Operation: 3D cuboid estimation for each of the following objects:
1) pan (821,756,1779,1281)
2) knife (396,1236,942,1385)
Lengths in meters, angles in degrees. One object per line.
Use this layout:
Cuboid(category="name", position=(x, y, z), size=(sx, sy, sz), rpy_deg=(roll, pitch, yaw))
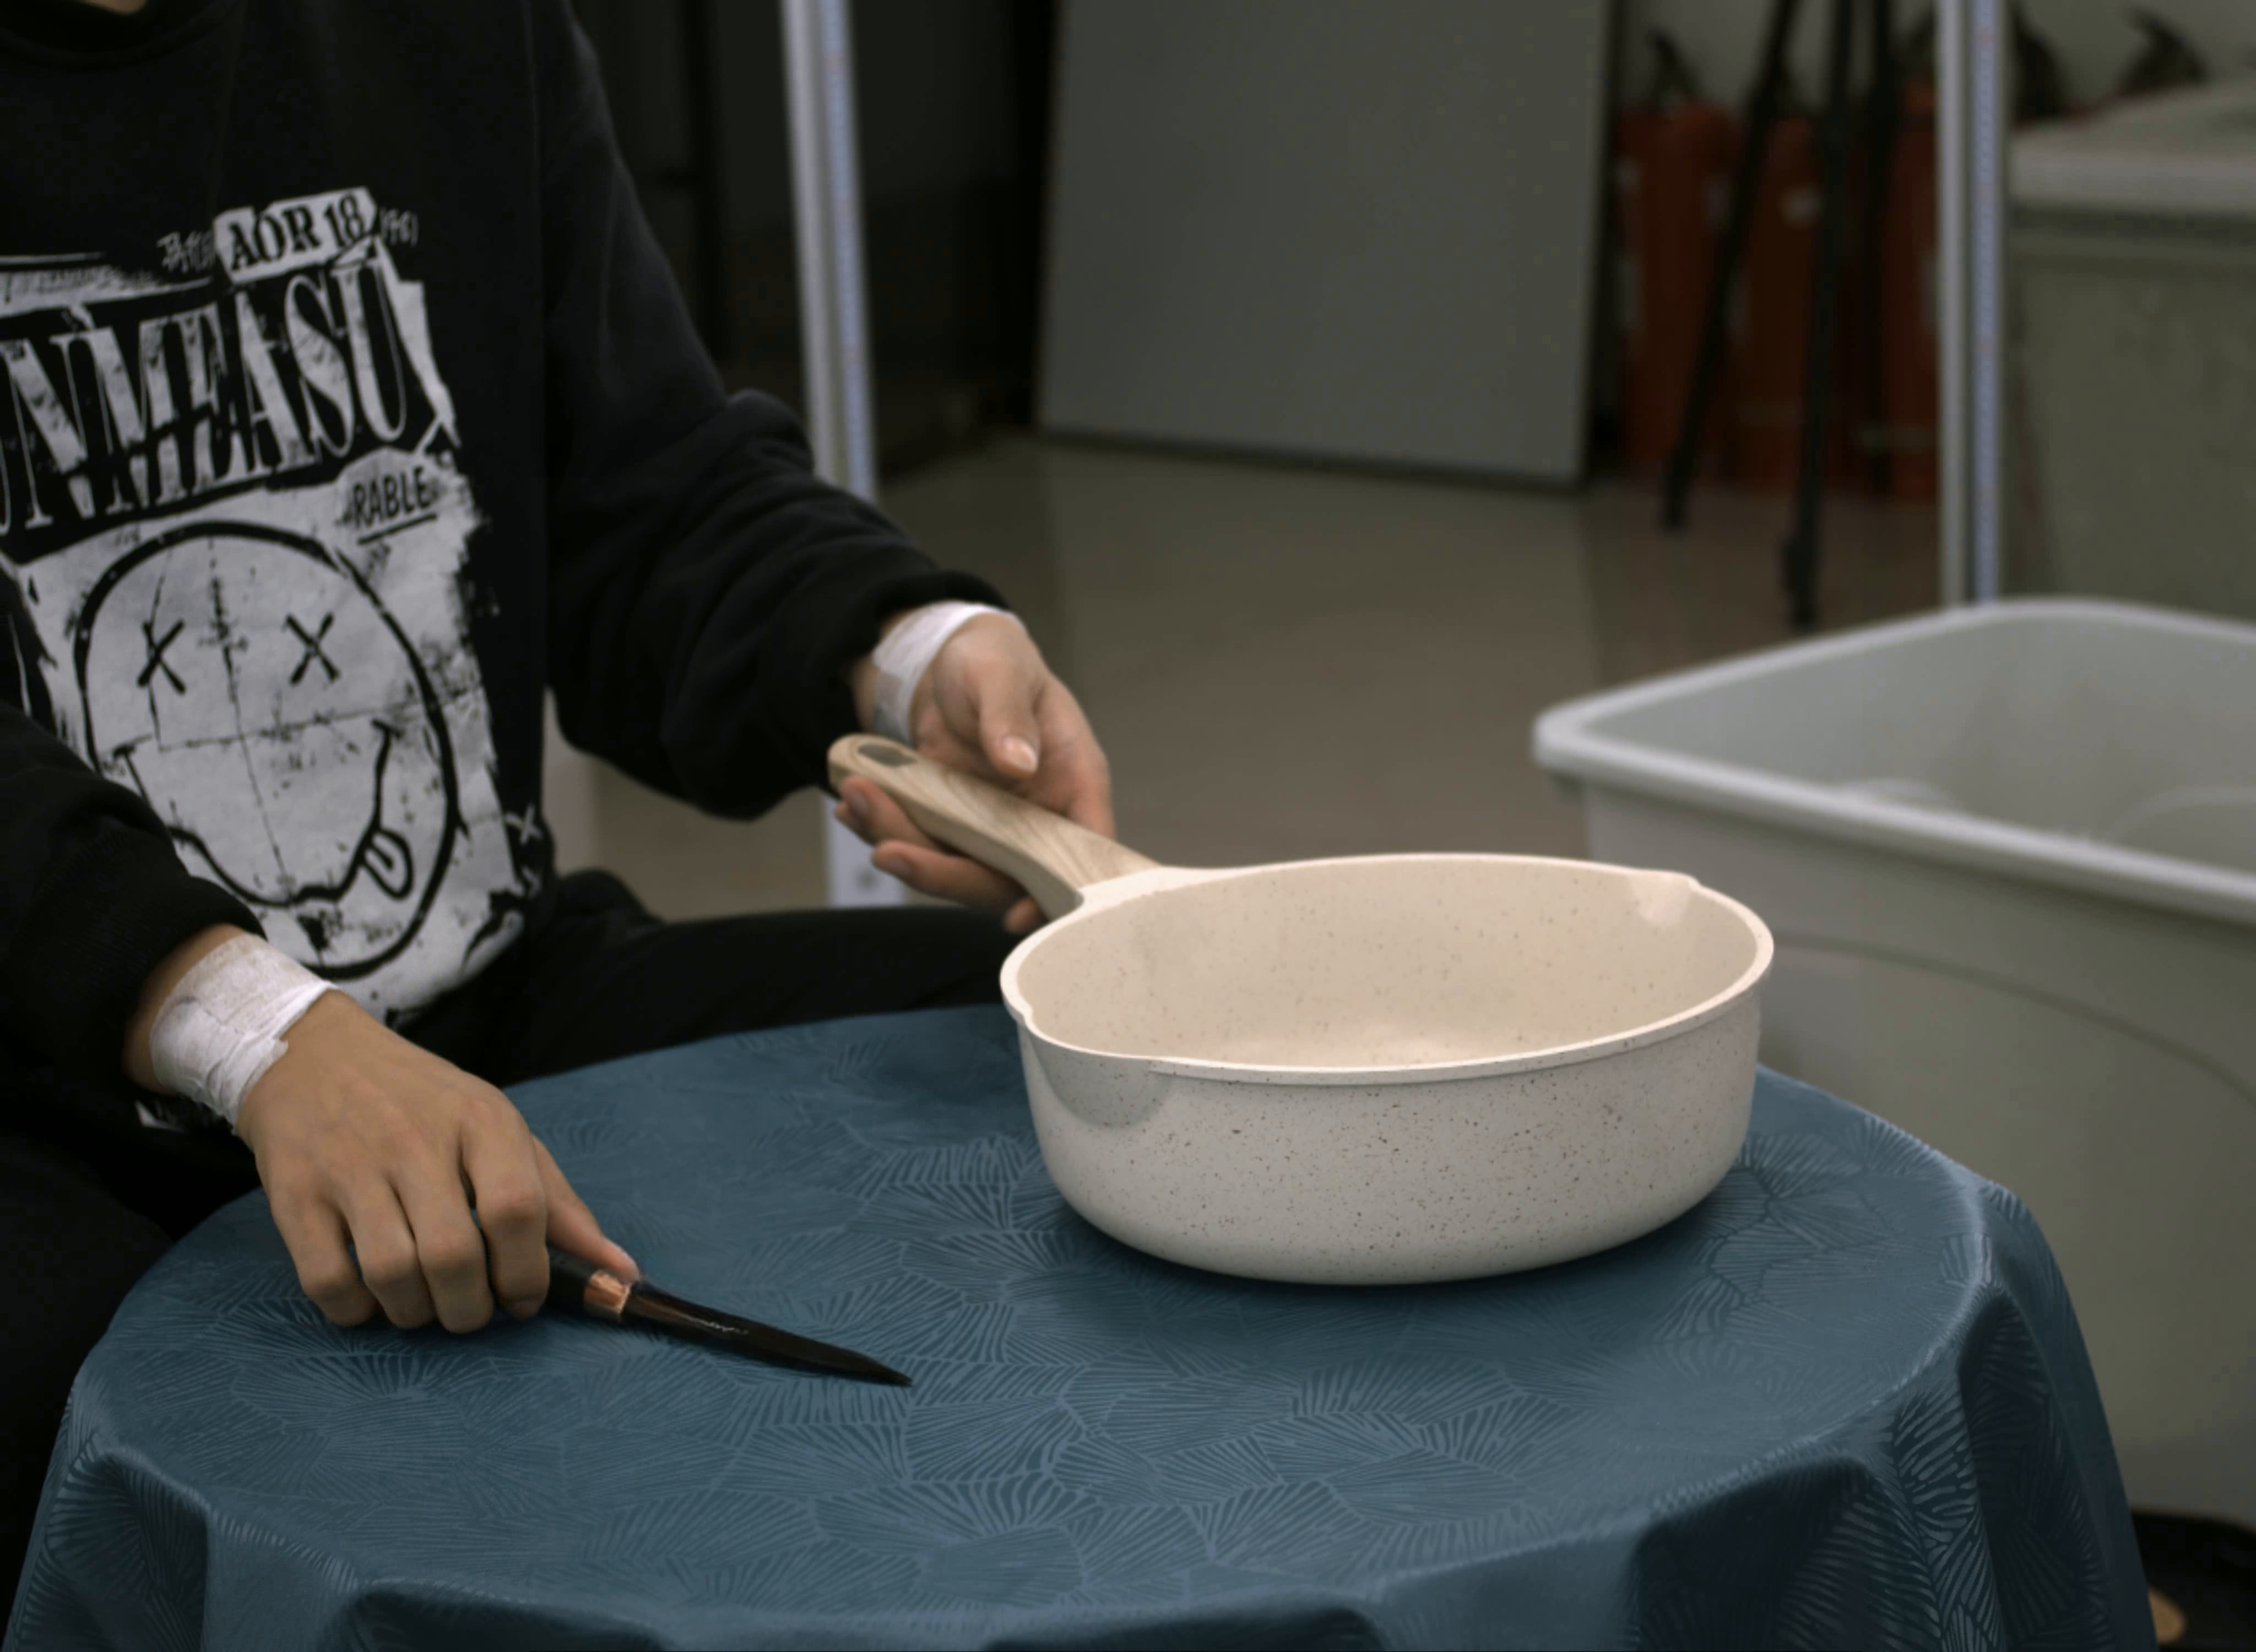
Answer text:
Cuboid(category="pan", position=(0.033, 0.056, 1.817), size=(0.258, 0.103, 0.439), rpy_deg=(-16, 18, -34))
Cuboid(category="knife", position=(-0.145, 0.152, 1.679), size=(0.227, 0.017, 0.025), rpy_deg=(9, 2, 40))
